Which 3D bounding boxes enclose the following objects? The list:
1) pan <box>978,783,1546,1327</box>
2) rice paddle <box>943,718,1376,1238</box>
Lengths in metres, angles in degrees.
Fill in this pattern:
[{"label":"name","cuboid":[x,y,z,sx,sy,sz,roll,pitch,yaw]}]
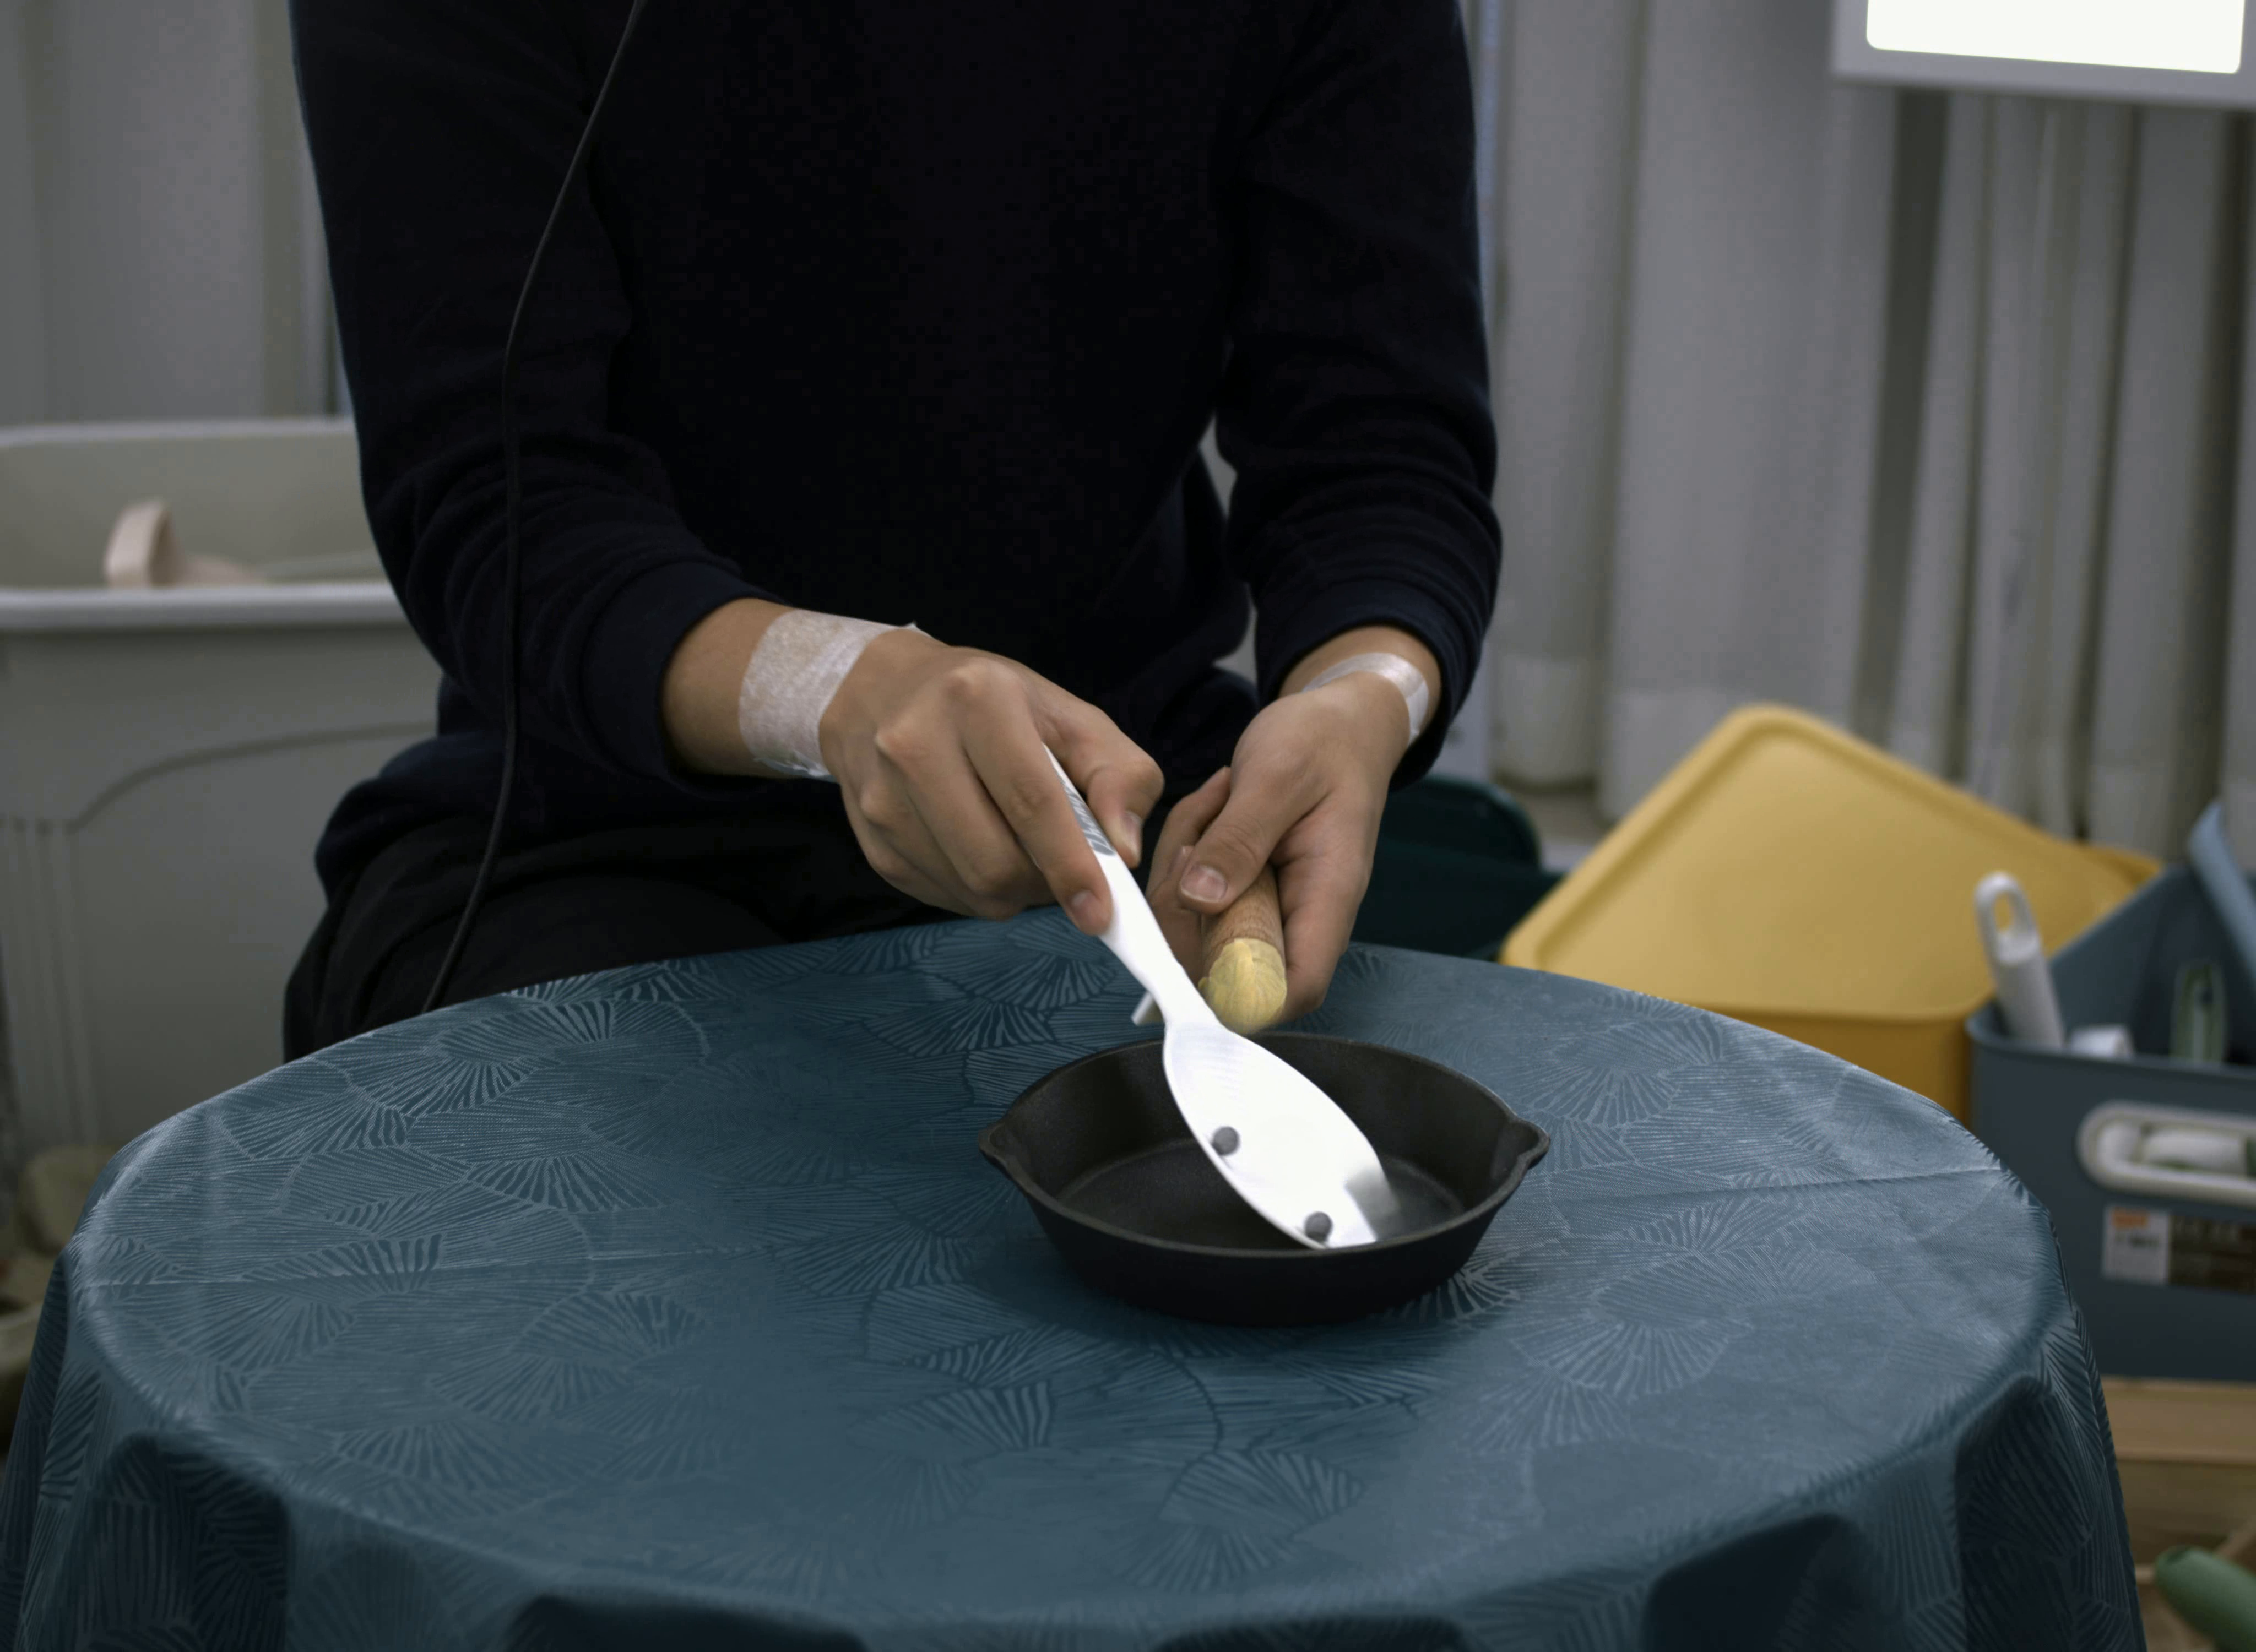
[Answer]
[{"label":"pan","cuboid":[0.040,0.067,1.637,0.168,0.050,0.322,1,23,0]},{"label":"rice paddle","cuboid":[0.010,0.049,1.599,0.069,0.029,0.203,-5,50,-47]}]
